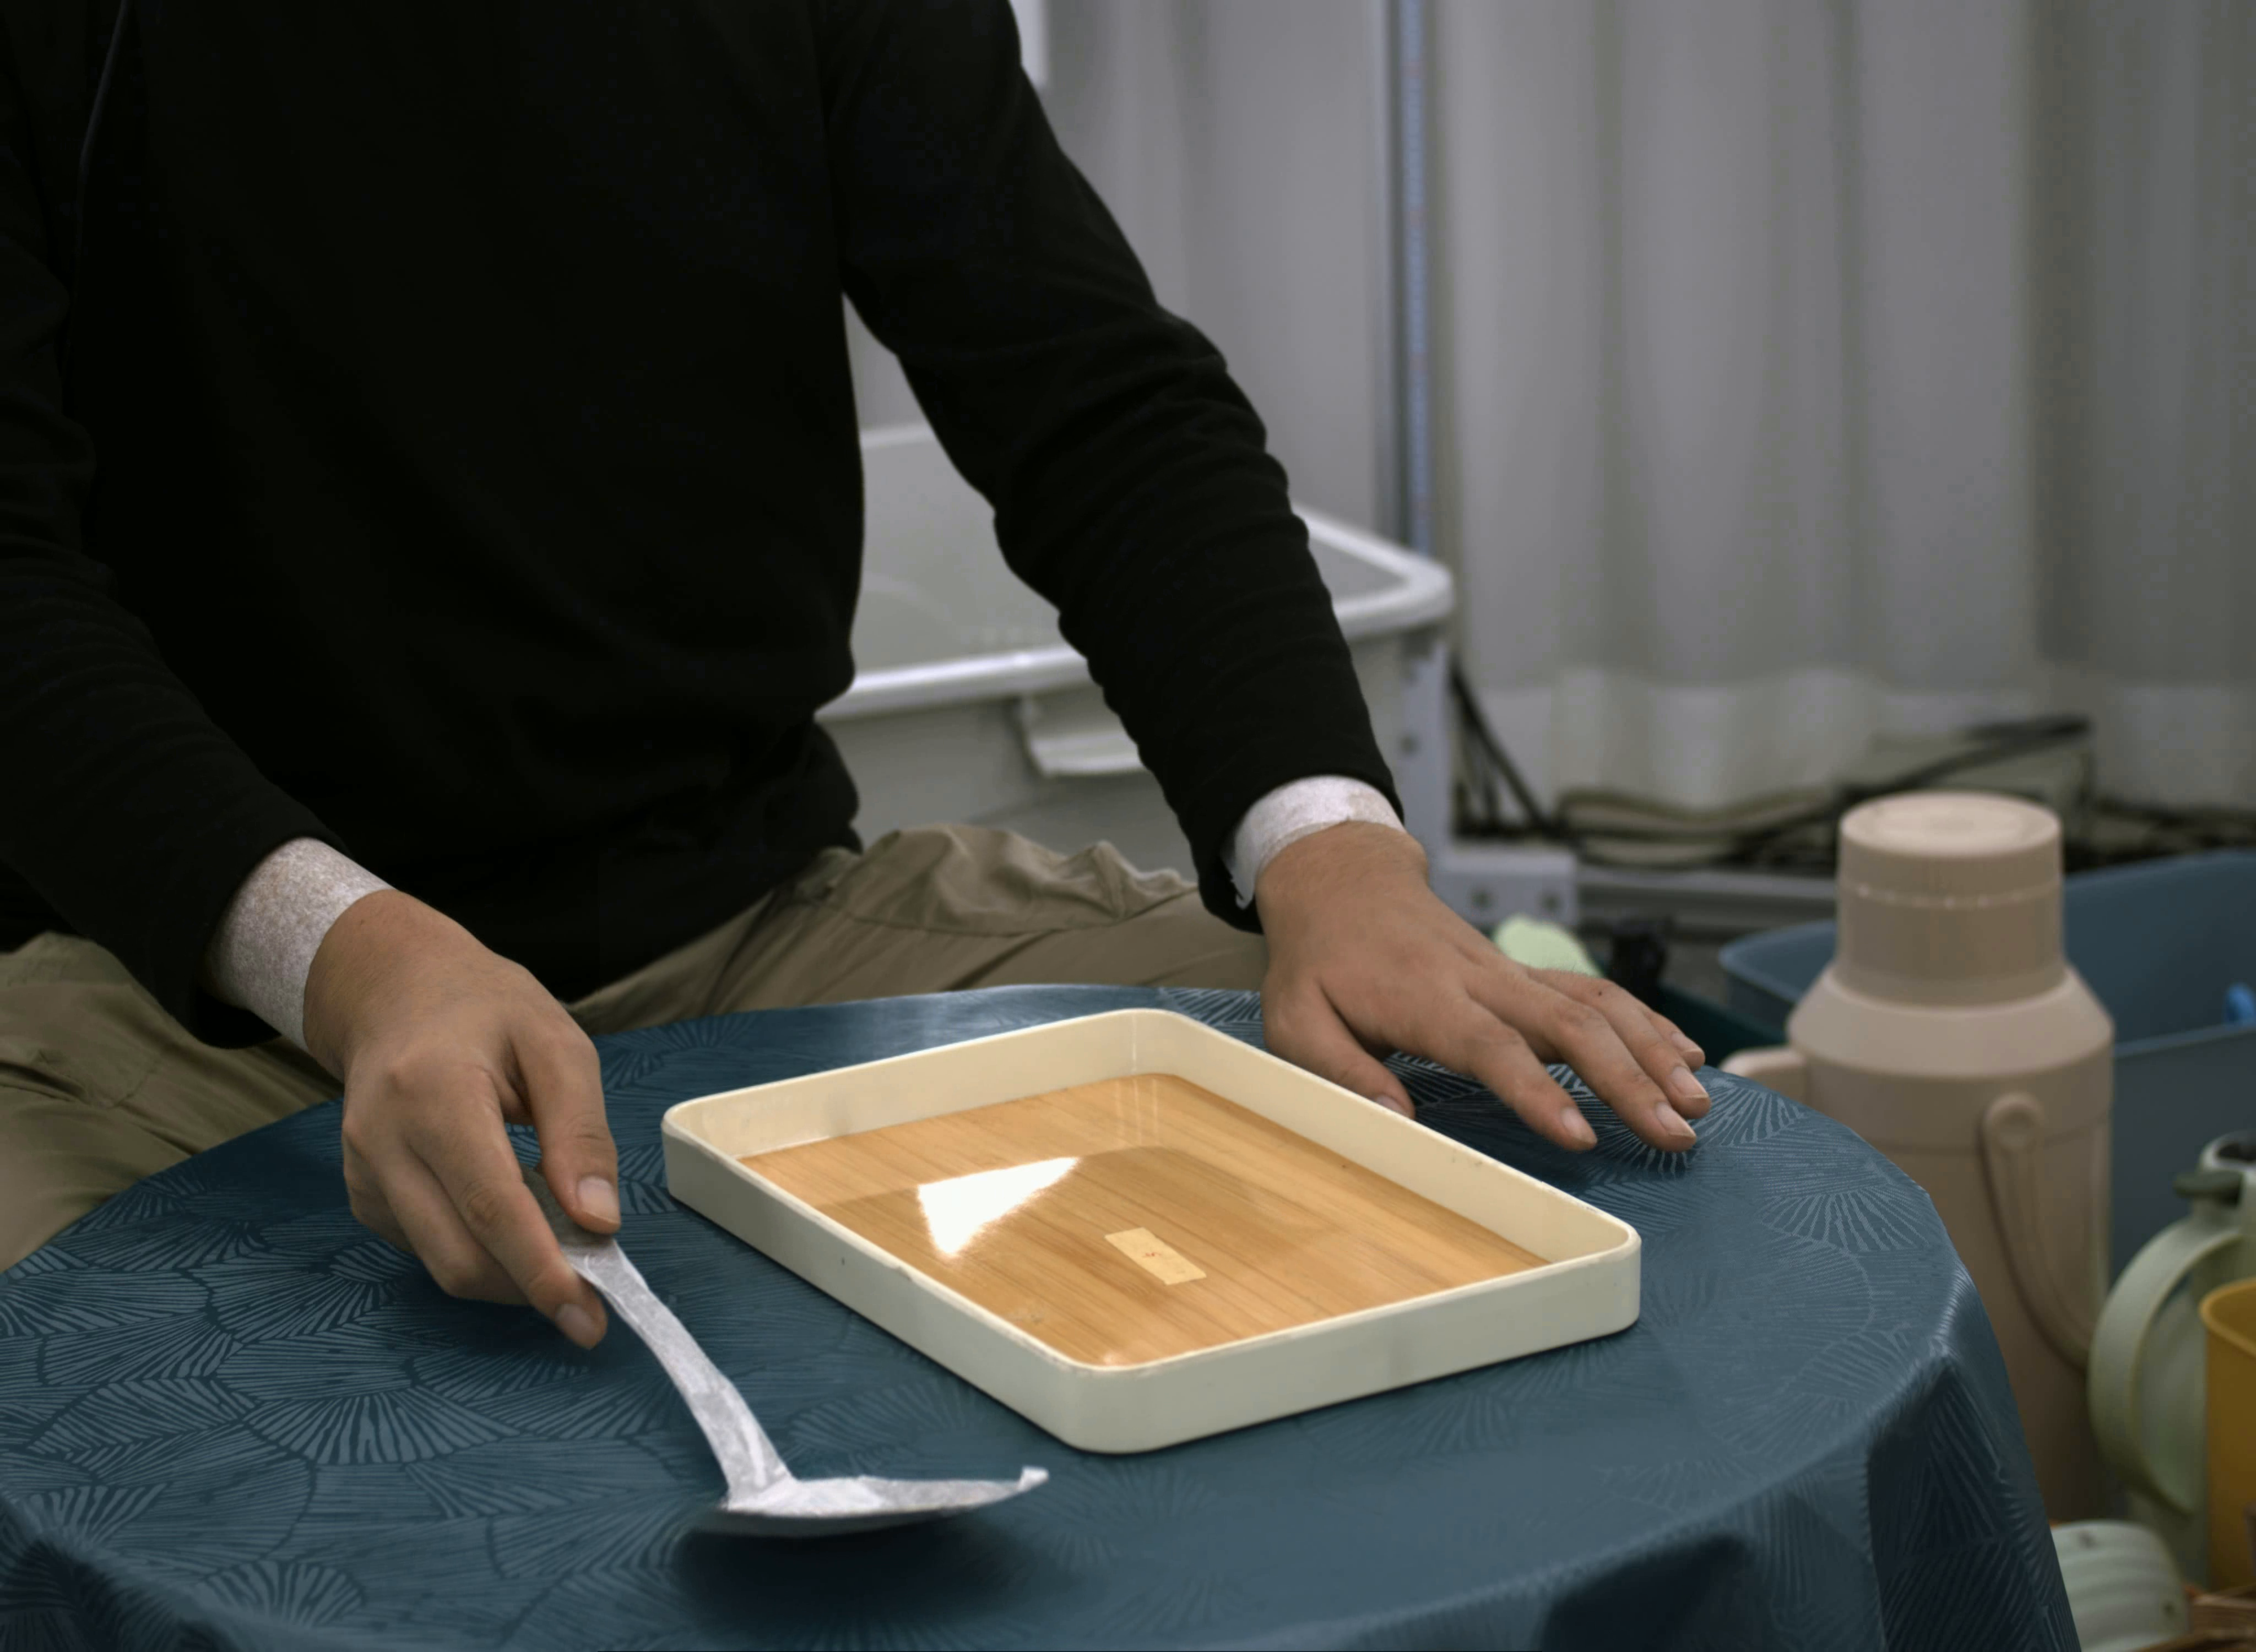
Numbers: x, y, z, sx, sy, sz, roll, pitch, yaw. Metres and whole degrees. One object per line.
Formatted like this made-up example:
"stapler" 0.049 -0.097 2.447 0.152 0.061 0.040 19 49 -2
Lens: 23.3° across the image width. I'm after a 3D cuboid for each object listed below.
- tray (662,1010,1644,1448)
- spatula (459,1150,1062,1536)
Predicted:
"tray" 0.001 0.117 1.654 0.191 0.027 0.302 -11 16 -27
"spatula" -0.130 0.138 1.544 0.098 0.044 0.368 -2 18 -25
